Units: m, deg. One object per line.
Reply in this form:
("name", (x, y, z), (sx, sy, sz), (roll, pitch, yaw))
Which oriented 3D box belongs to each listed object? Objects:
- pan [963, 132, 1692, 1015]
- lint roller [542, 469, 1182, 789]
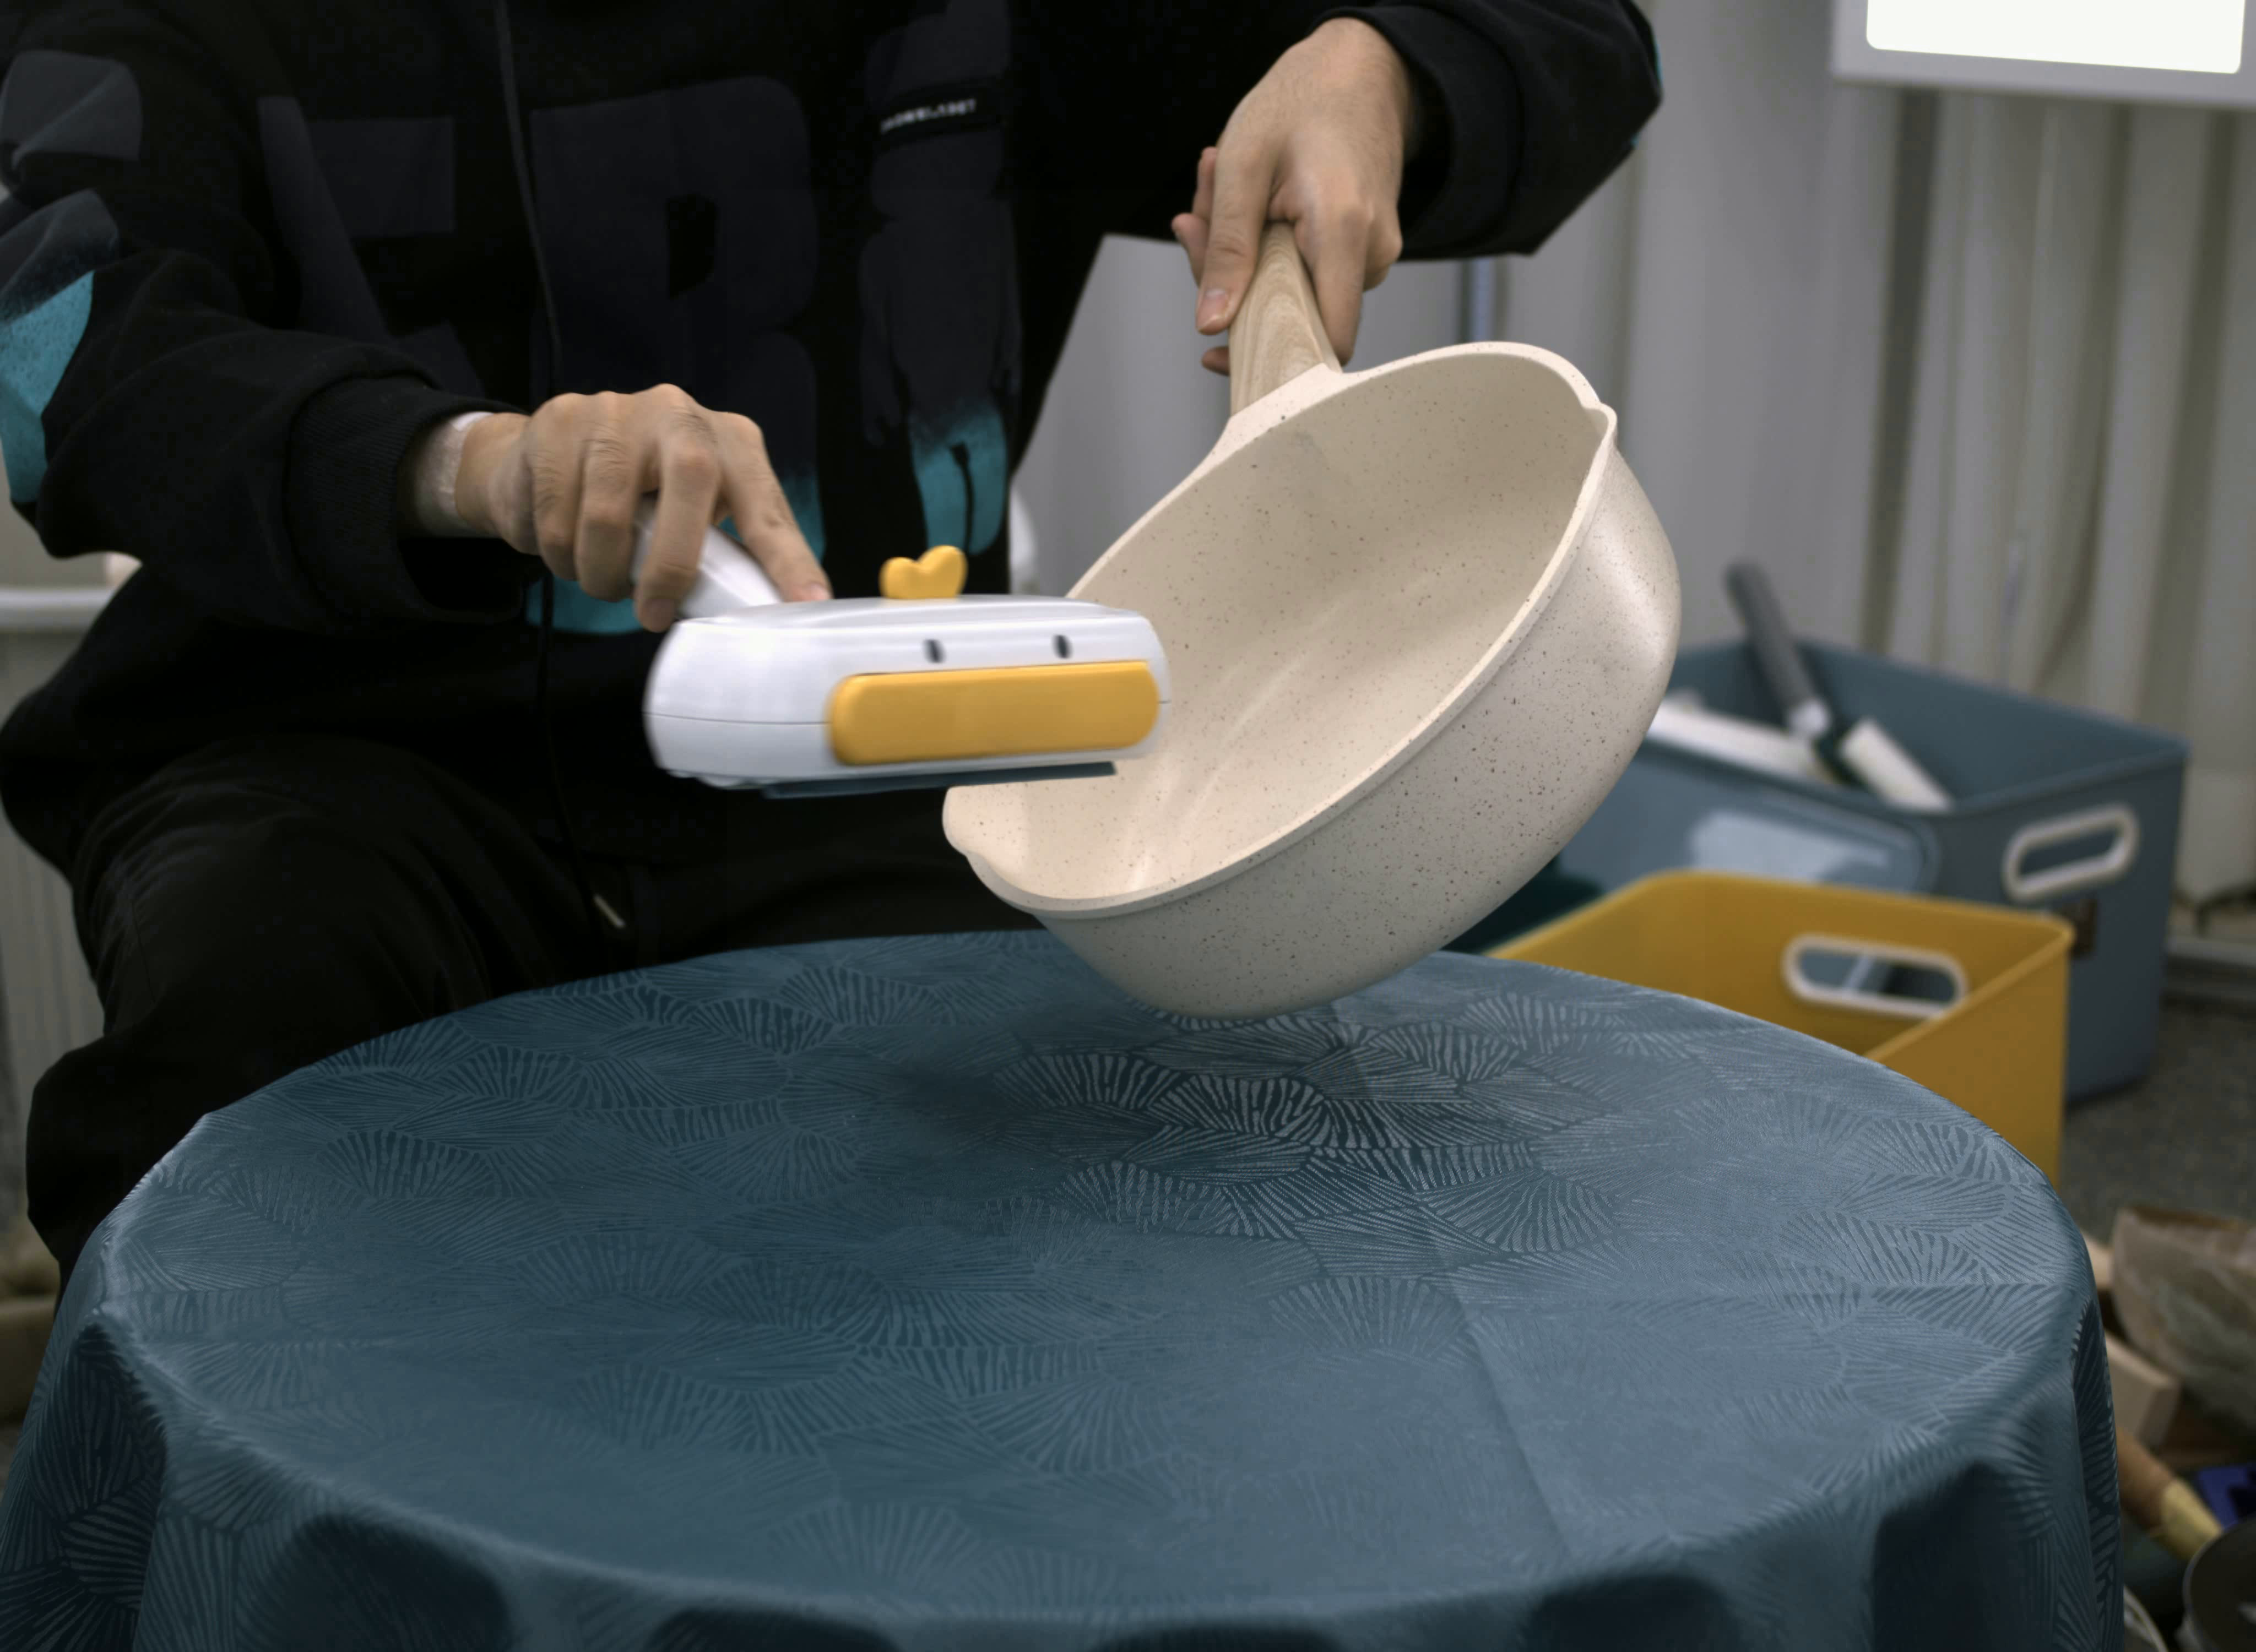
("pan", (0.070, -0.099, 1.770), (0.262, 0.103, 0.431), (-32, 28, 21))
("lint roller", (-0.105, -0.064, 1.627), (0.190, 0.075, 0.194), (17, 19, 35))
